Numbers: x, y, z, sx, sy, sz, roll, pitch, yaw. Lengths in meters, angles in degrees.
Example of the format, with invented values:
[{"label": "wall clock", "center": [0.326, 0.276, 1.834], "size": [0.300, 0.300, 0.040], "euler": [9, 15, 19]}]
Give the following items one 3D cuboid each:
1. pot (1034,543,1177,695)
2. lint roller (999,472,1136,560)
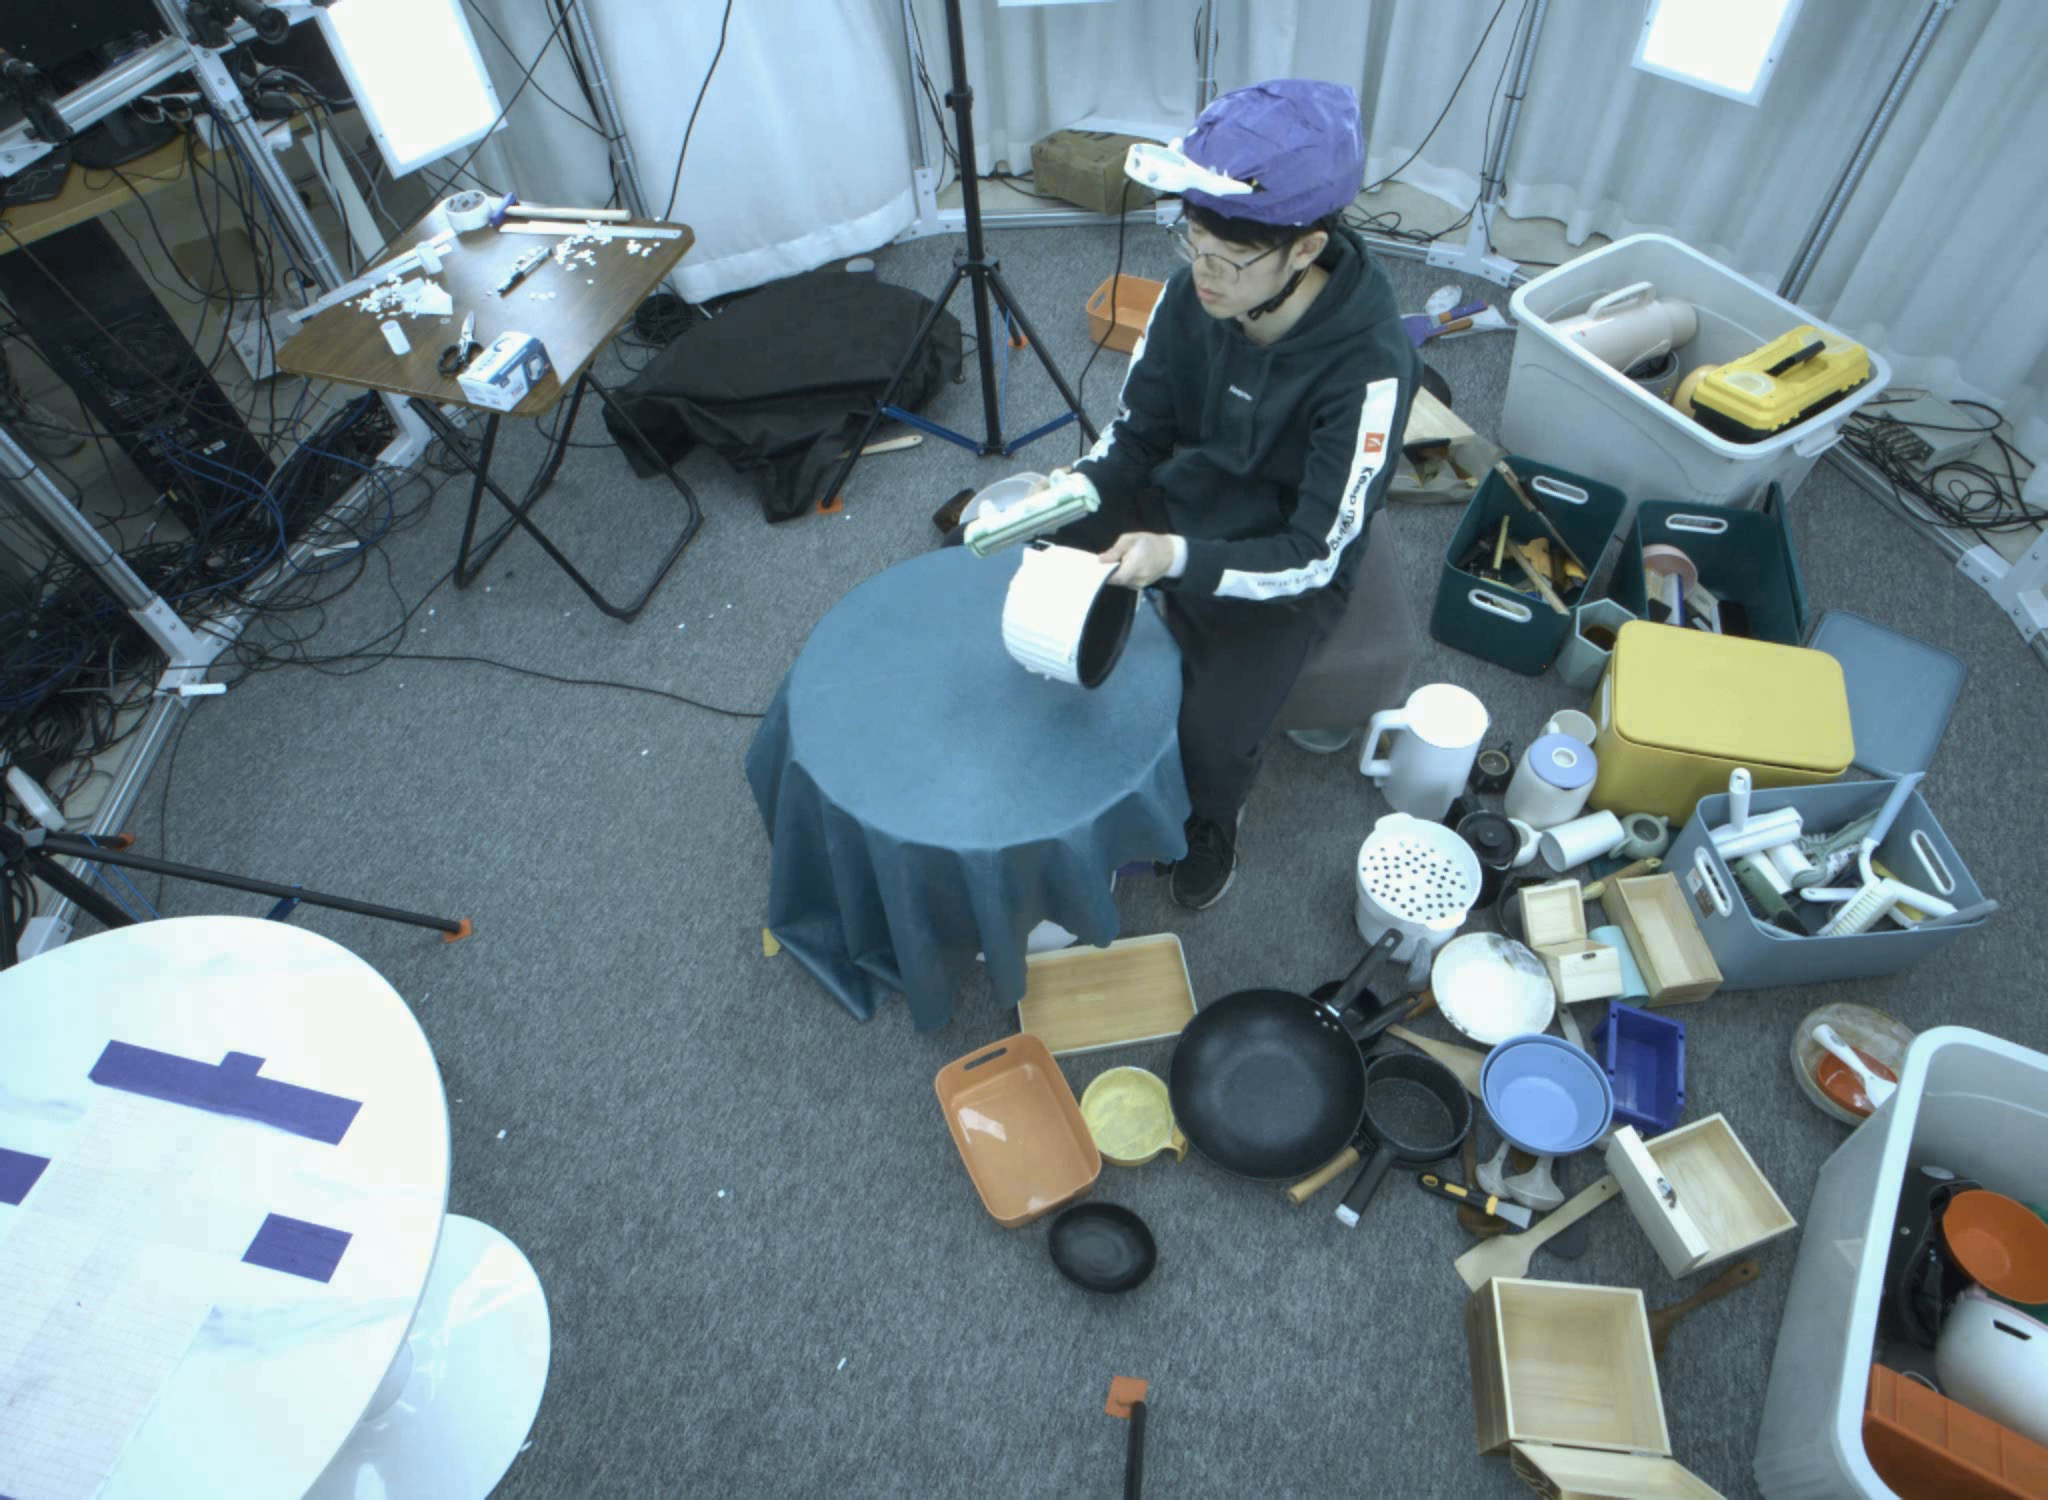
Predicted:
[{"label": "pot", "center": [0.103, -0.178, 1.695], "size": [0.140, 0.192, 0.242], "euler": [20, 36, 24]}, {"label": "lint roller", "center": [0.069, -0.354, 1.775], "size": [0.196, 0.083, 0.183], "euler": [-18, 20, 23]}]
